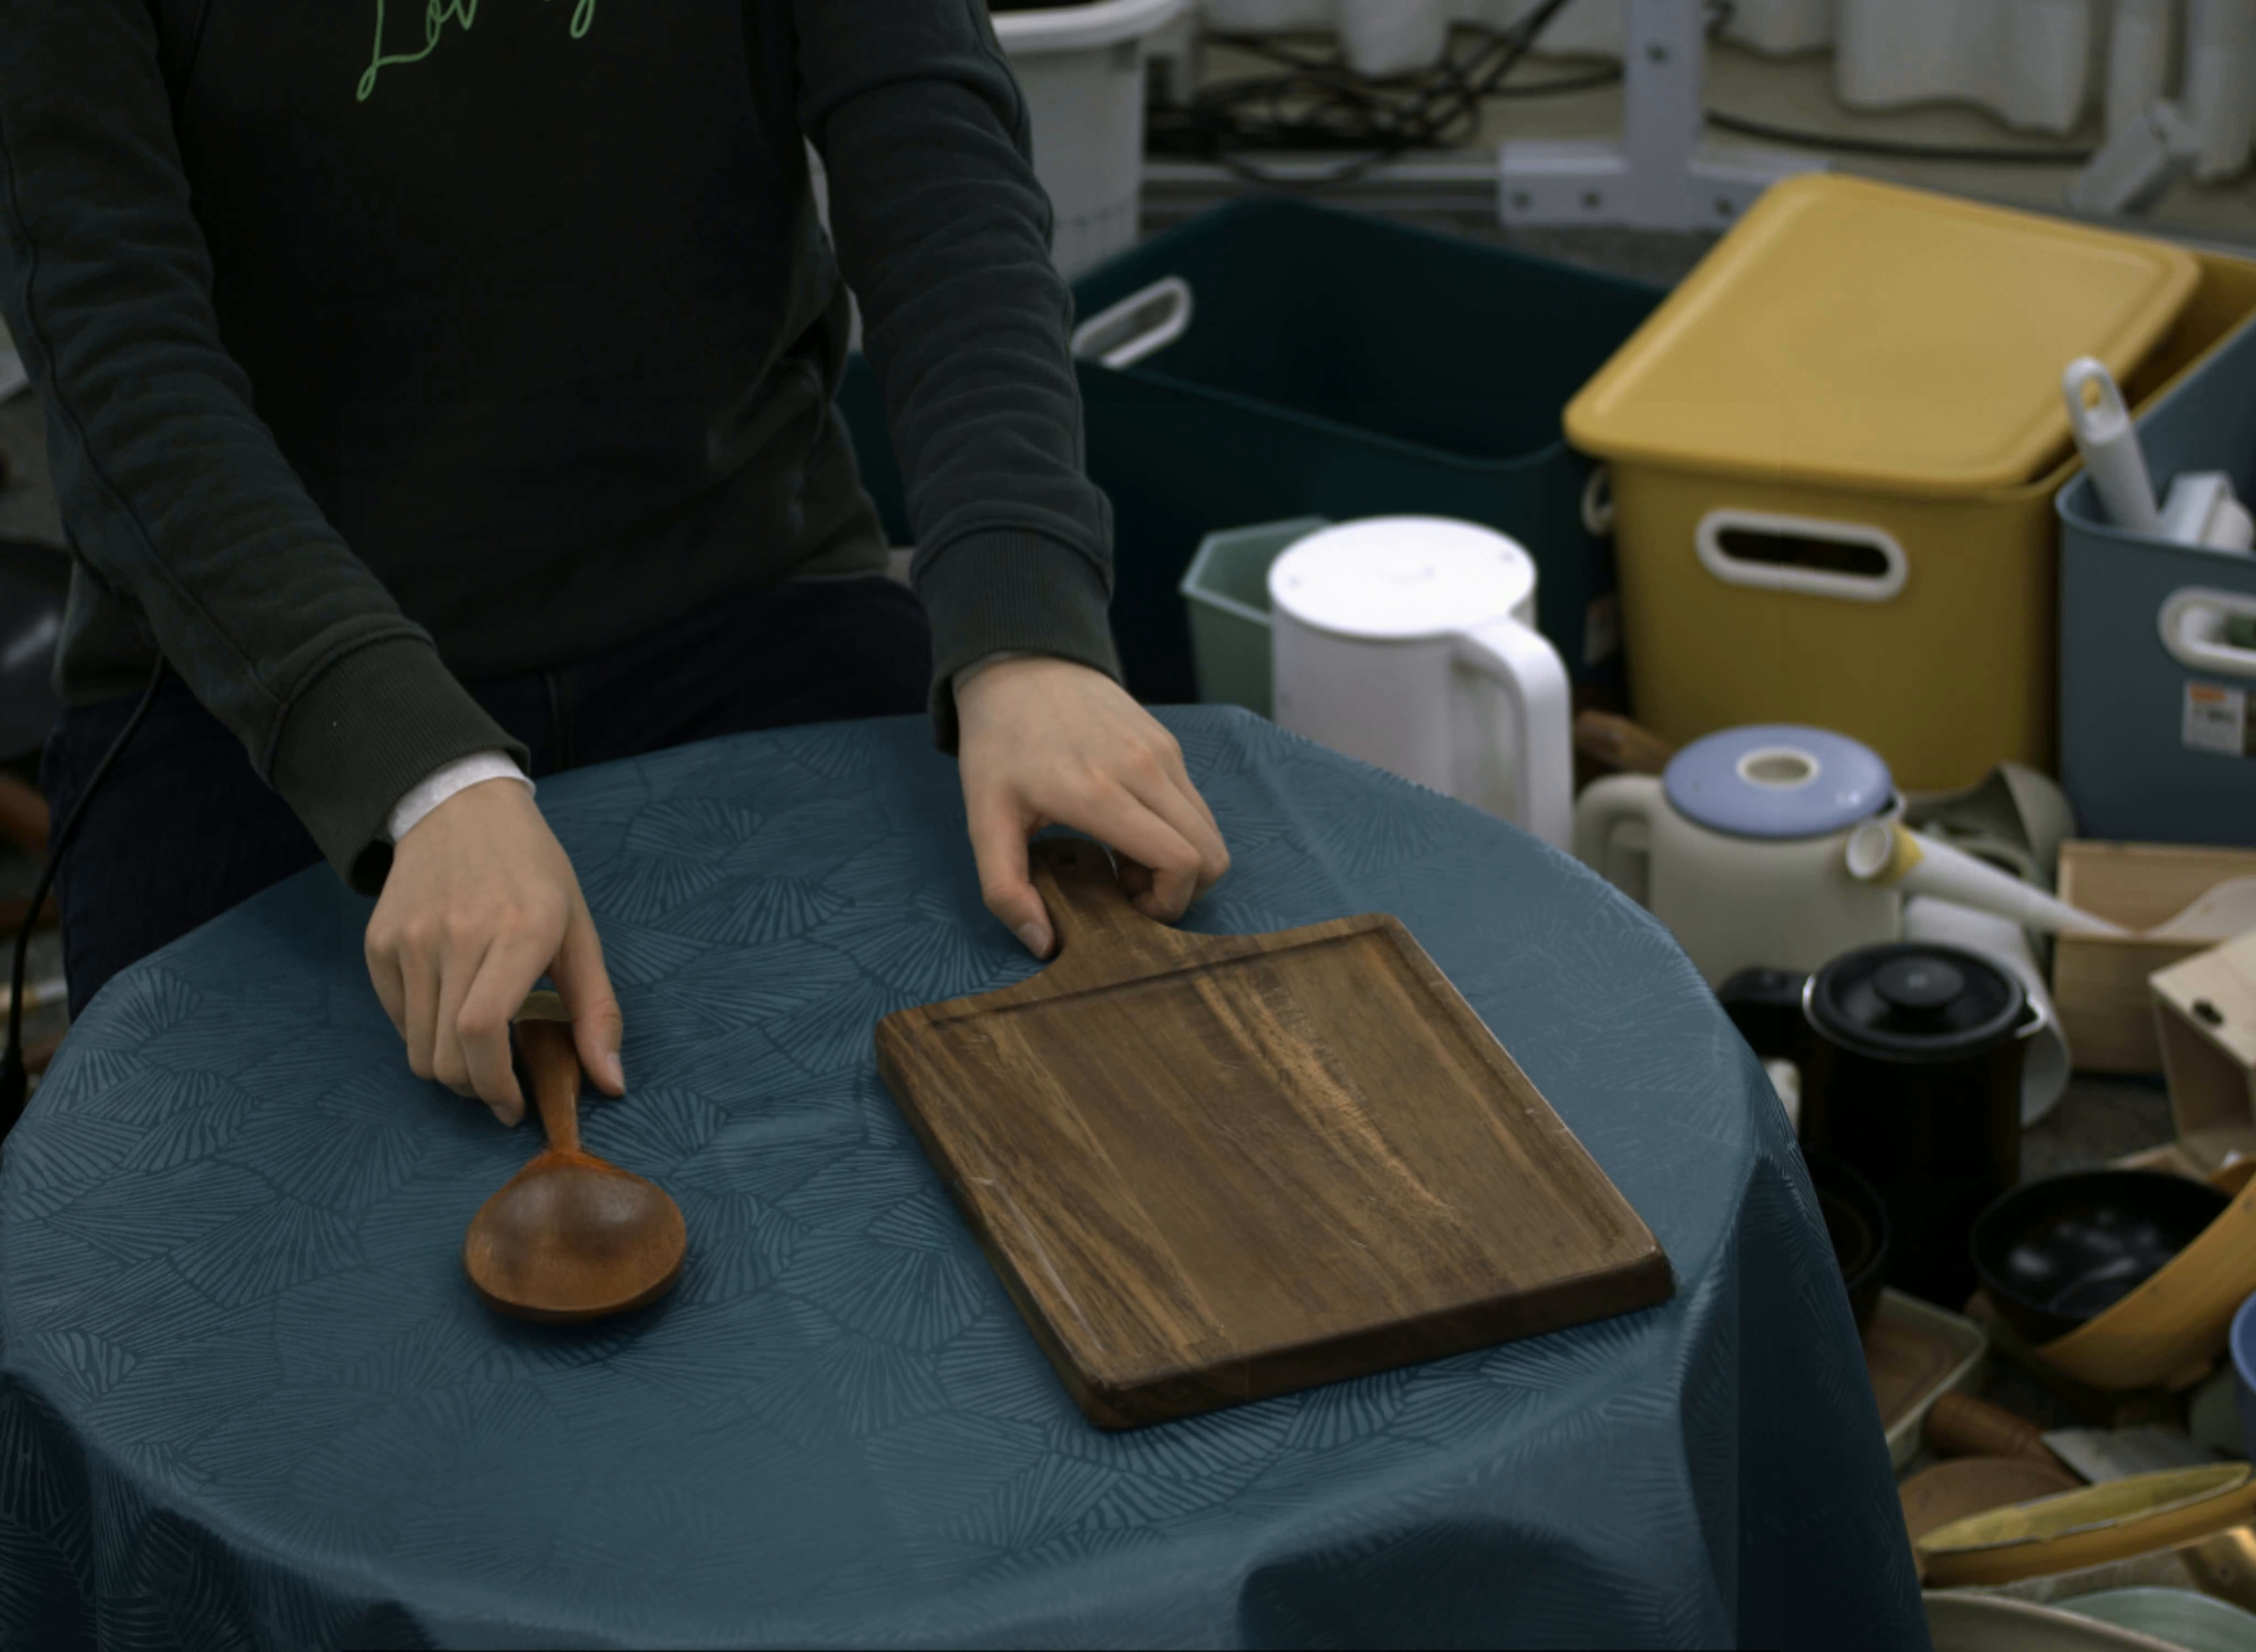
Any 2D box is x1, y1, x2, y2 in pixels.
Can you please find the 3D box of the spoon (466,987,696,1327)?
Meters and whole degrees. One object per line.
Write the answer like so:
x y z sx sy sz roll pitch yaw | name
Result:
-0.187 0.111 1.881 0.075 0.017 0.218 -8 28 -6 | spoon

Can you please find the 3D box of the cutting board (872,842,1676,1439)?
0.027 0.089 1.902 0.201 0.023 0.355 -12 28 -15 | cutting board
